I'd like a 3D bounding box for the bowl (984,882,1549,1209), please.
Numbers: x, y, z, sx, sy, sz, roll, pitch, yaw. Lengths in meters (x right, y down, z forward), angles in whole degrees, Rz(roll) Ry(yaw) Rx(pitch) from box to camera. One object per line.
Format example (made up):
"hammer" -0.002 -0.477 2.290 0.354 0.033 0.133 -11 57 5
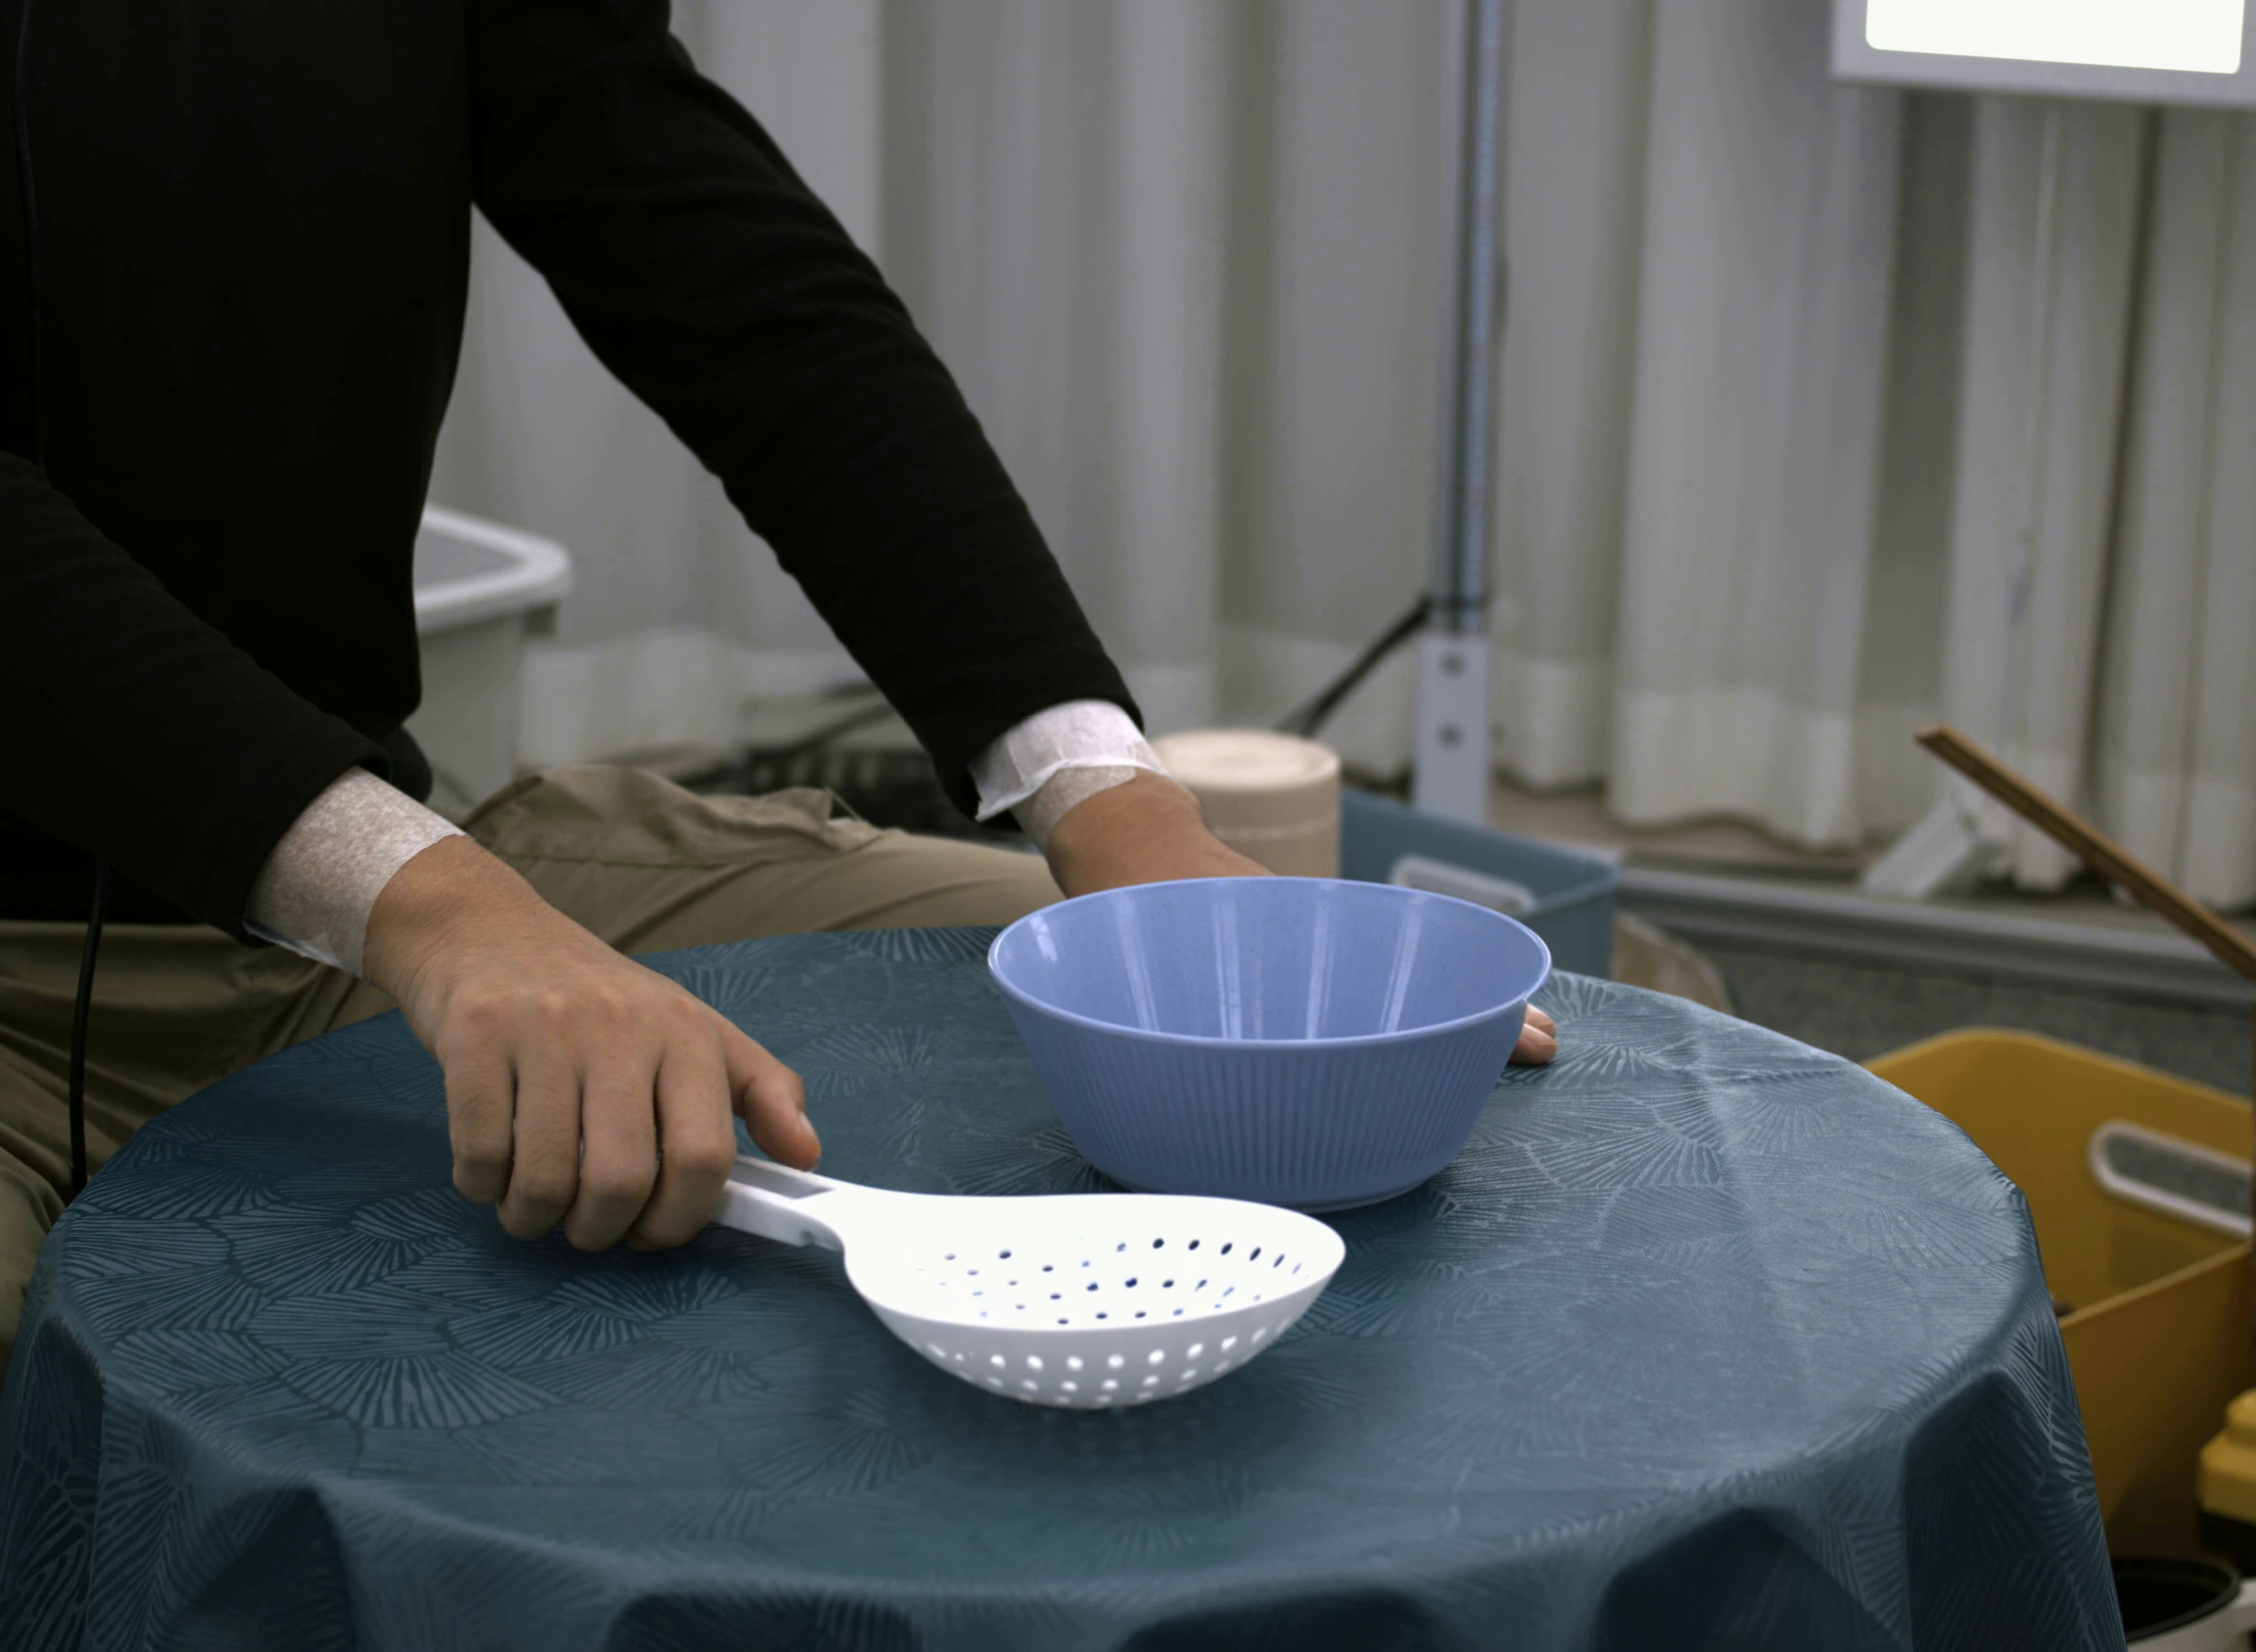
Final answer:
"bowl" 0.043 0.070 1.642 0.175 0.071 0.175 0 15 1

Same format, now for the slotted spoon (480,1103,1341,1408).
"slotted spoon" -0.080 0.114 1.525 0.136 0.046 0.345 -15 20 -40
